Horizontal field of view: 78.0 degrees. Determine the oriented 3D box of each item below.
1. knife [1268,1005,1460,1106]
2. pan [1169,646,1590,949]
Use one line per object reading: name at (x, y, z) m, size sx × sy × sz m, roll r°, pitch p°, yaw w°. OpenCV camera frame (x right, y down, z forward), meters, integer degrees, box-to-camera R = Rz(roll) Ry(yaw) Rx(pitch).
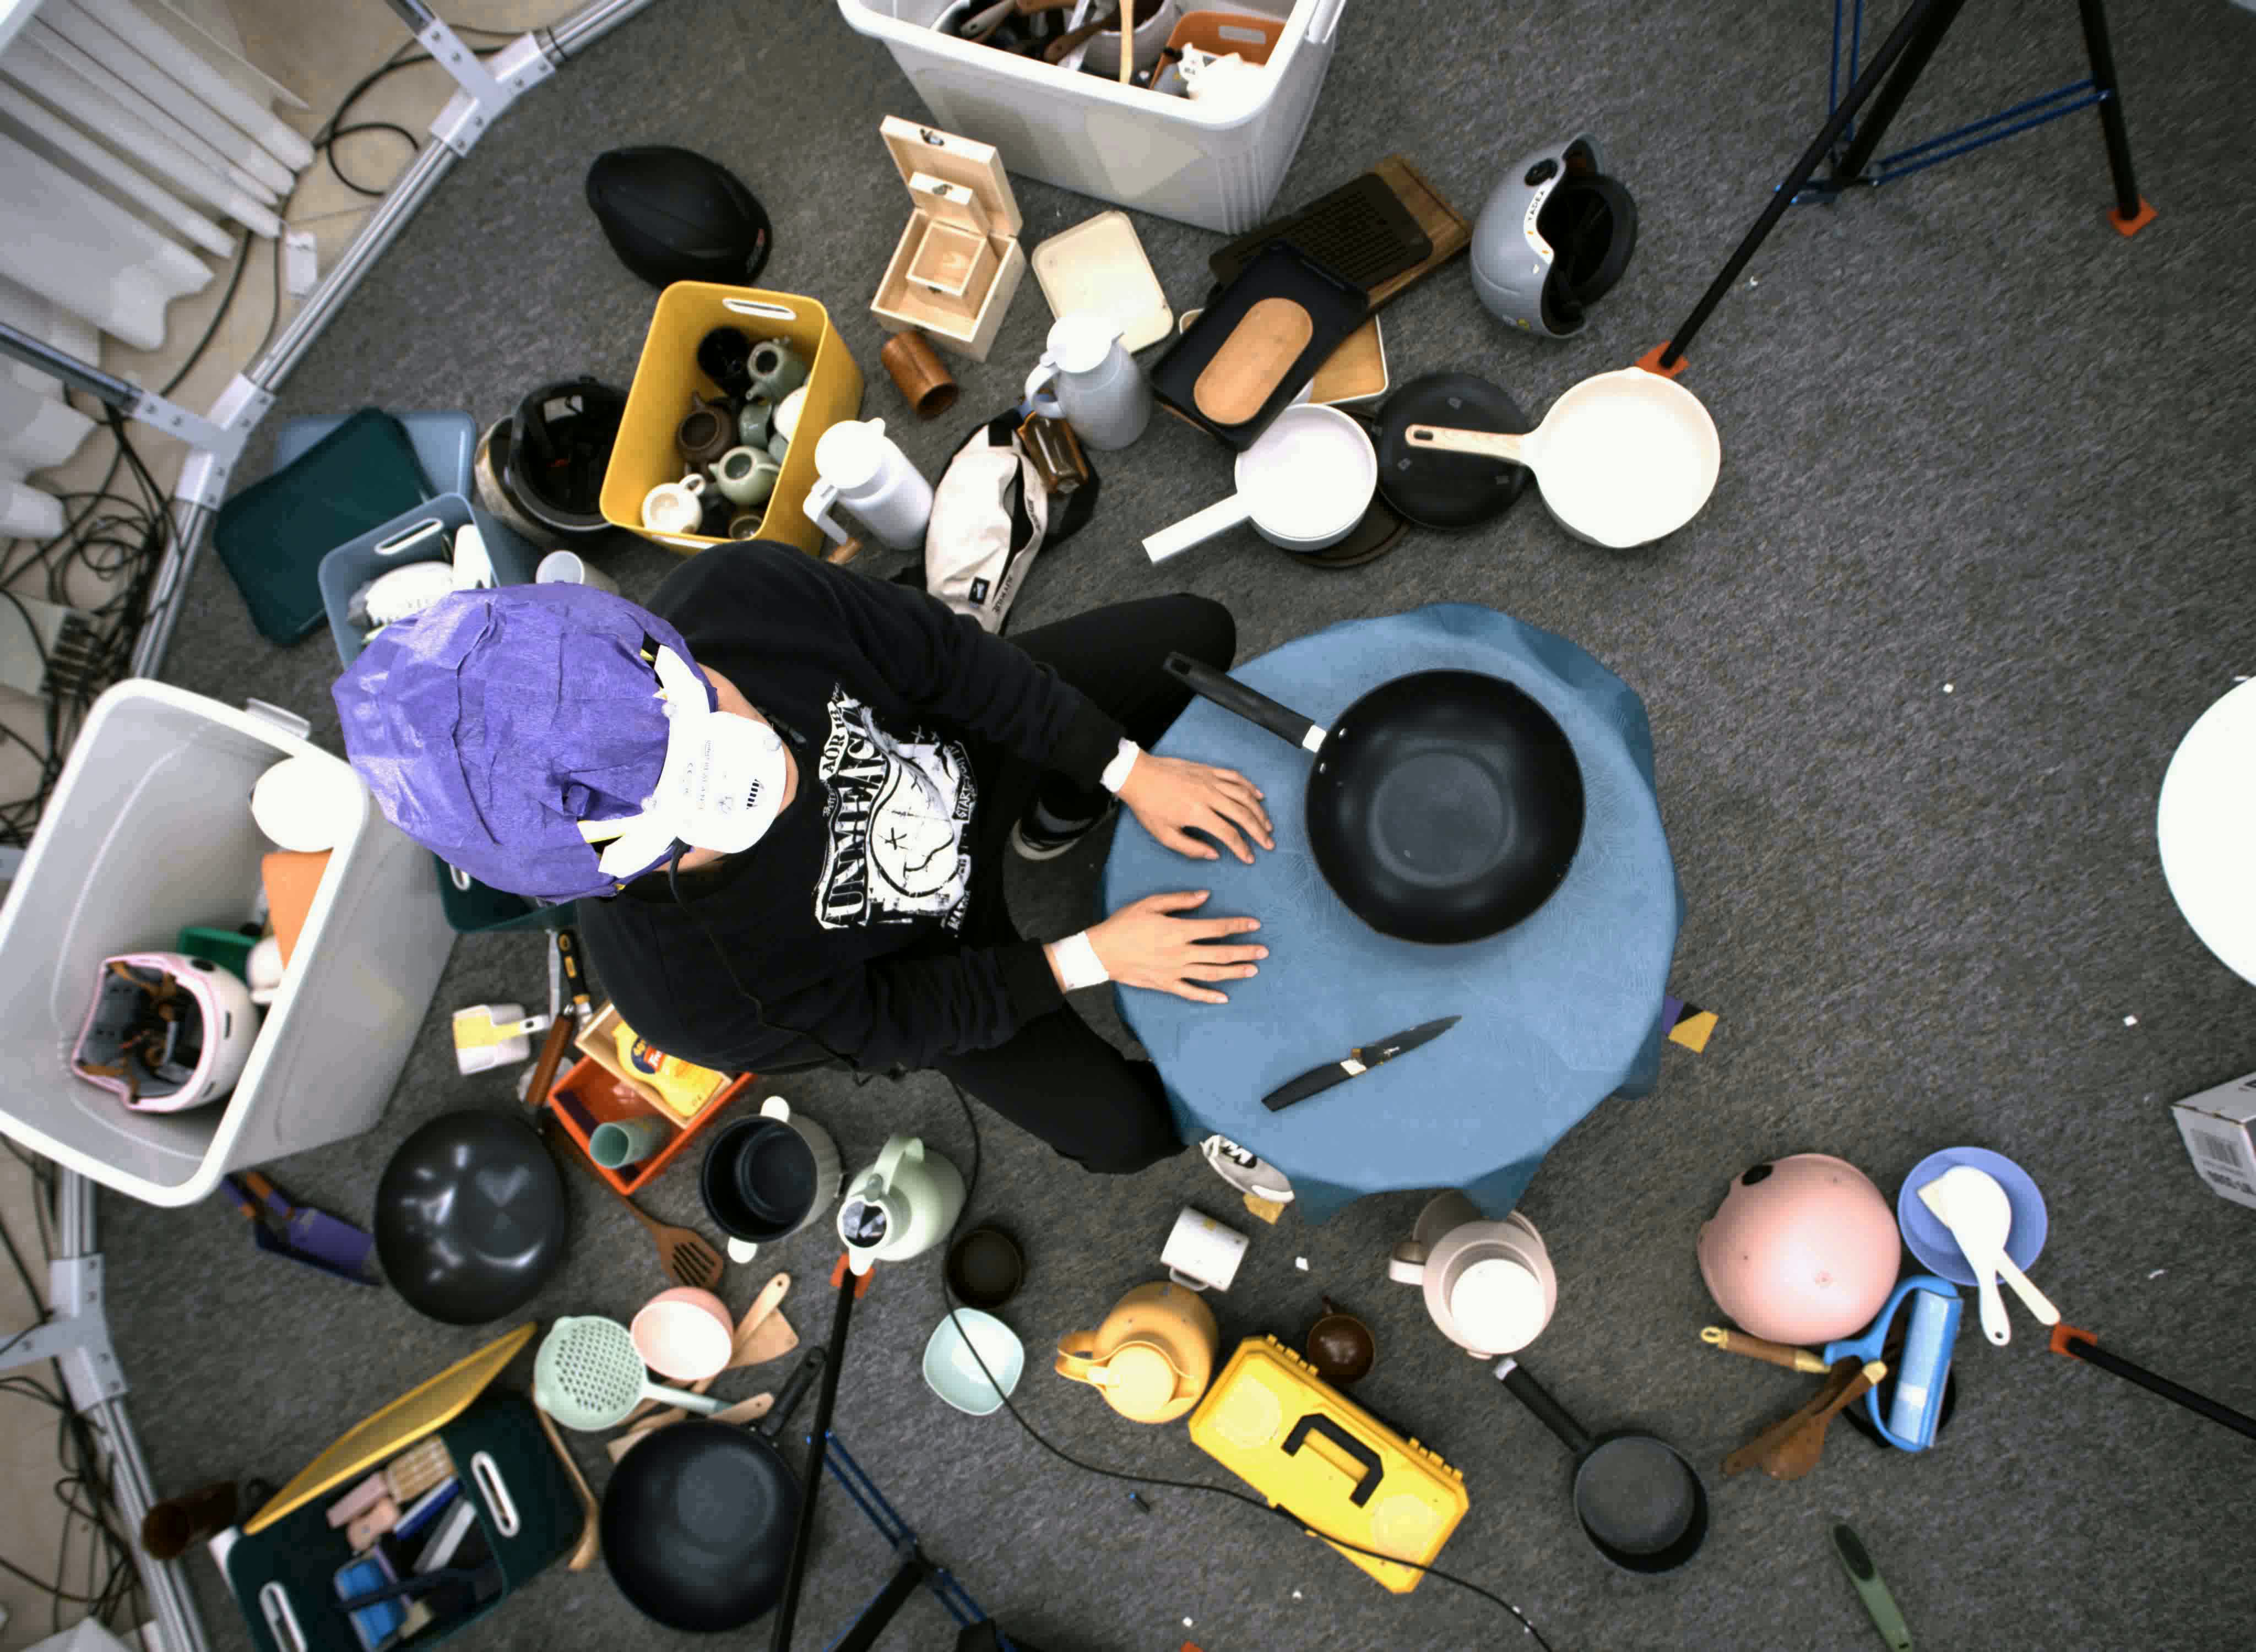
knife at (0.248, 0.240, 1.453) m, size 0.227 × 0.017 × 0.026 m, roll -26°, pitch 69°, yaw 8°
pan at (0.247, -0.059, 1.432) m, size 0.462 × 0.087 × 0.288 m, roll 29°, pitch 93°, yaw 12°
